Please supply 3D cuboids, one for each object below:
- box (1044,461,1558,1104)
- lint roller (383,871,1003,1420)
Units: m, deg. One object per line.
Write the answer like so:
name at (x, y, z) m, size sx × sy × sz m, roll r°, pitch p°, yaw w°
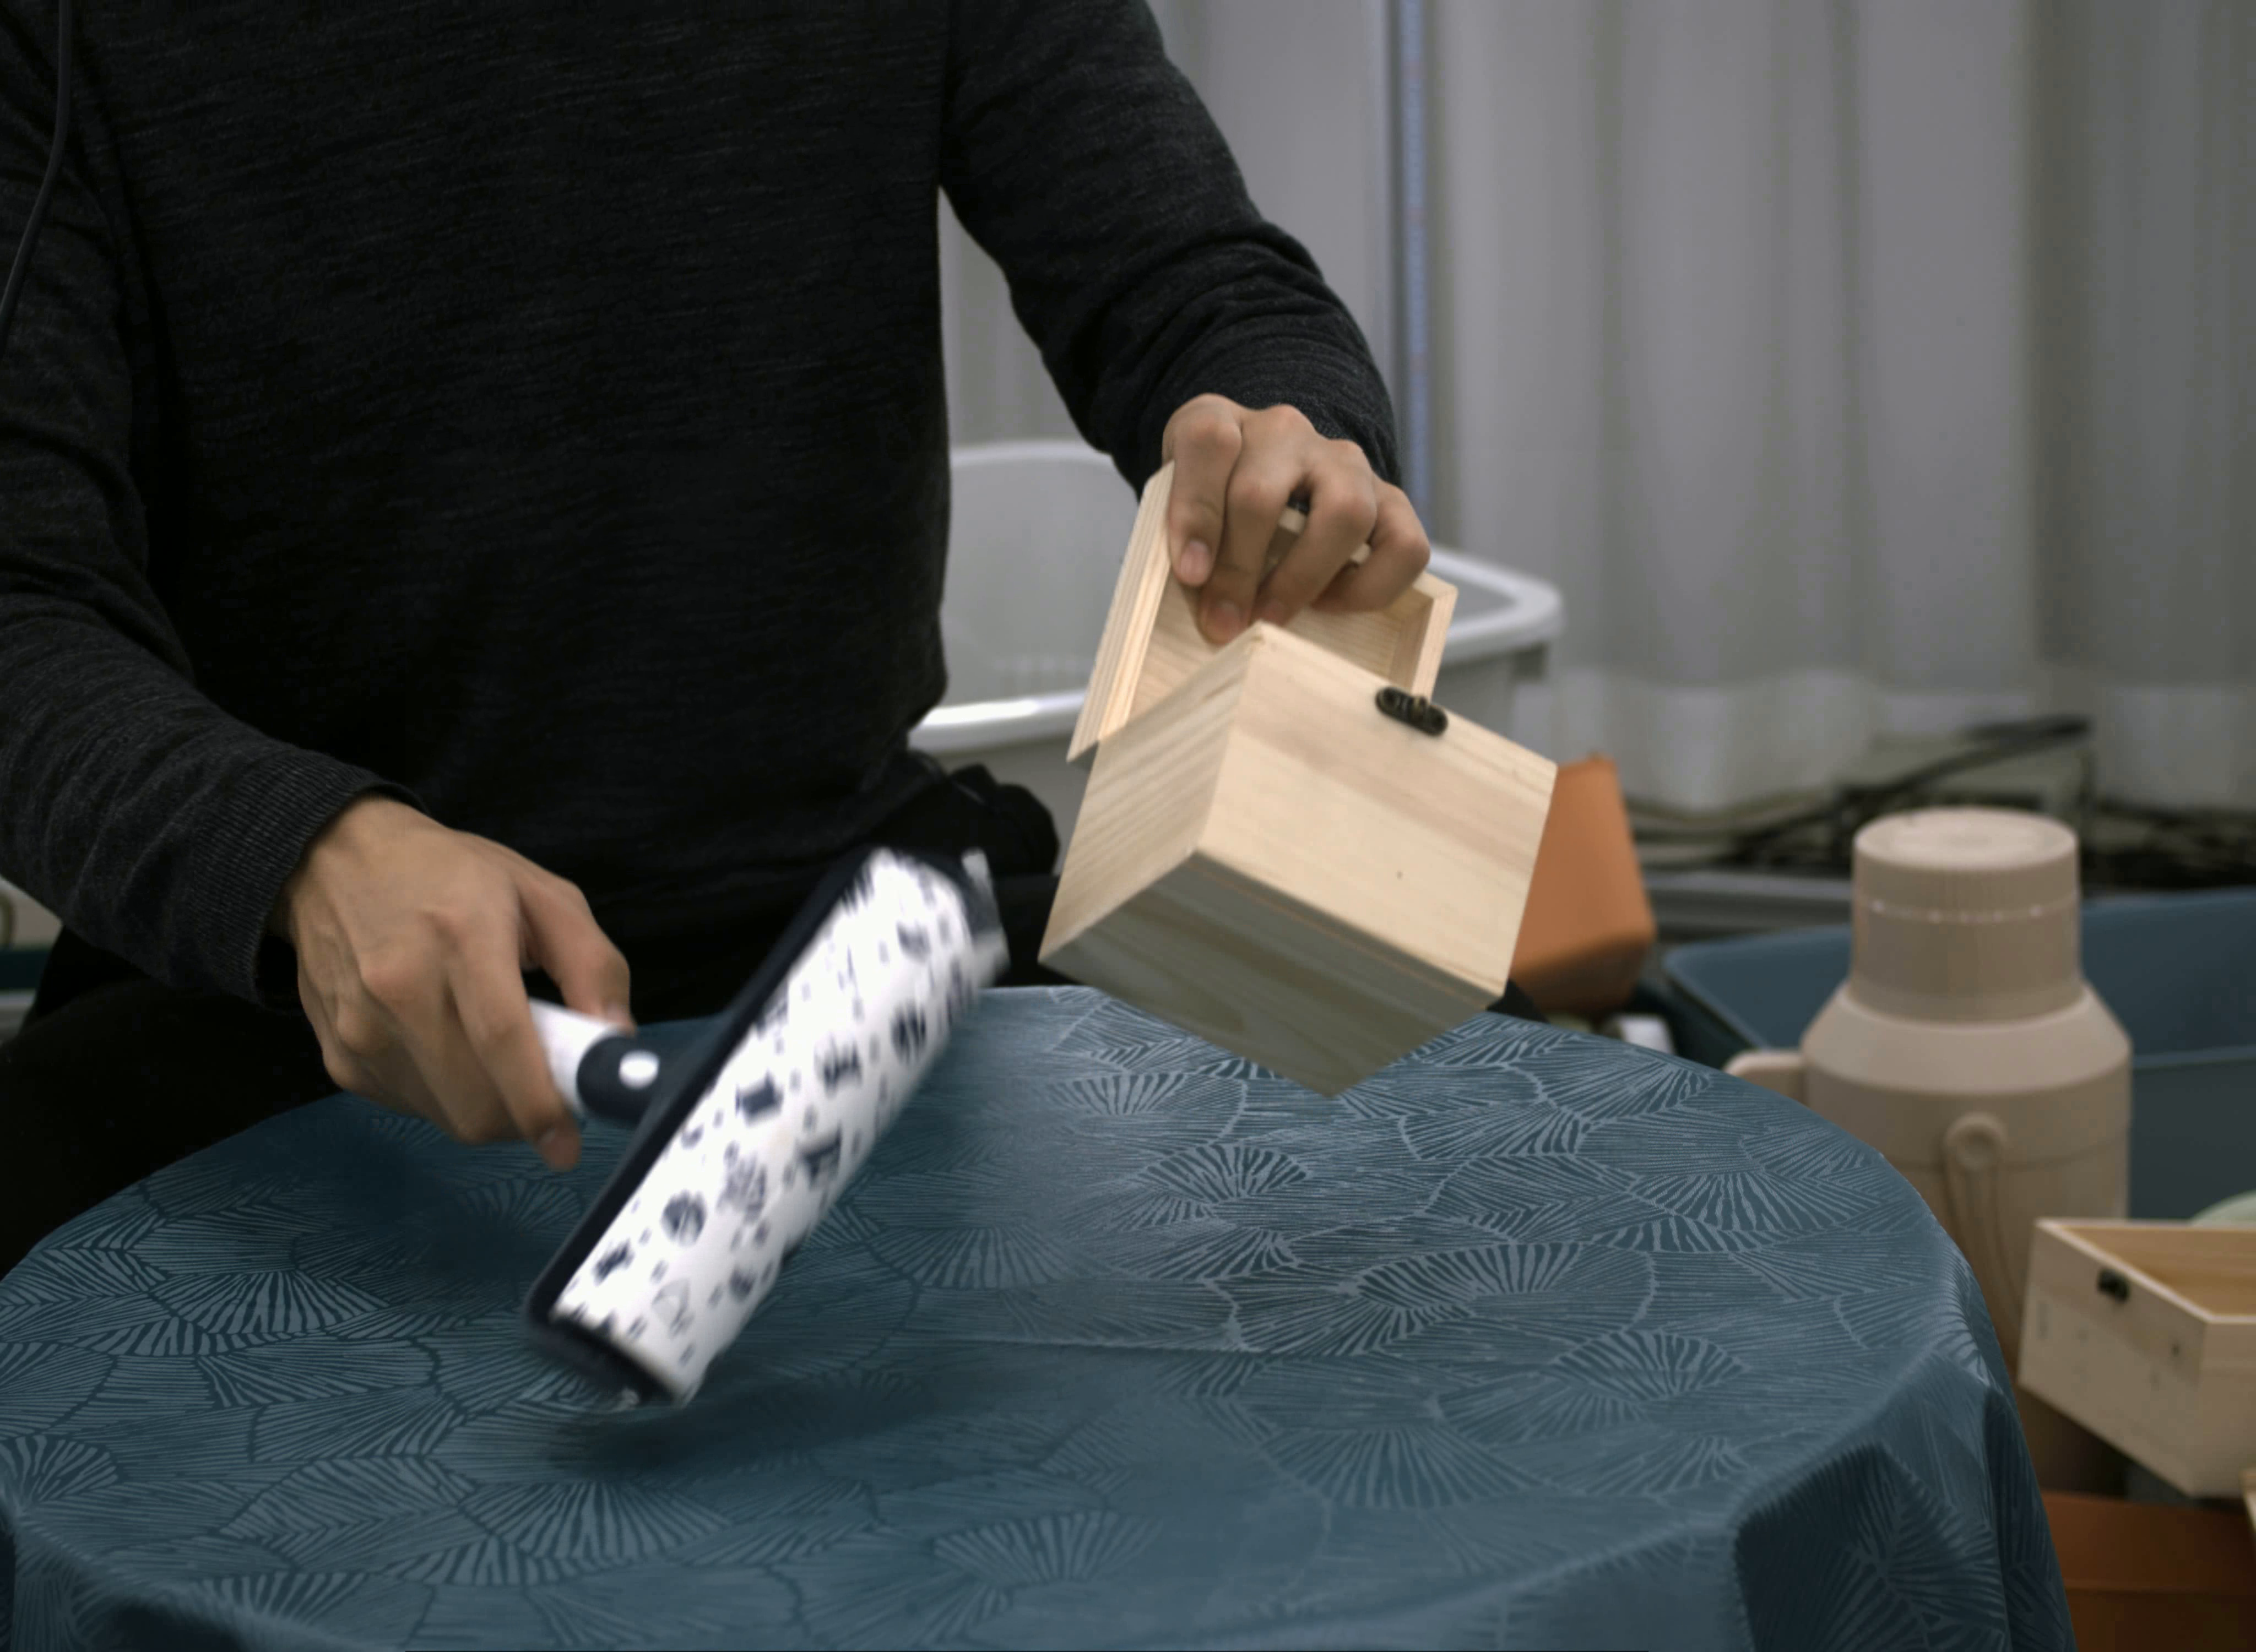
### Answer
box at (0.058, -0.030, 1.601) m, size 0.102 × 0.187 × 0.133 m, roll 26°, pitch -31°, yaw -17°
lint roller at (-0.159, 0.075, 1.609) m, size 0.248 × 0.050 × 0.177 m, roll 14°, pitch 61°, yaw 51°
